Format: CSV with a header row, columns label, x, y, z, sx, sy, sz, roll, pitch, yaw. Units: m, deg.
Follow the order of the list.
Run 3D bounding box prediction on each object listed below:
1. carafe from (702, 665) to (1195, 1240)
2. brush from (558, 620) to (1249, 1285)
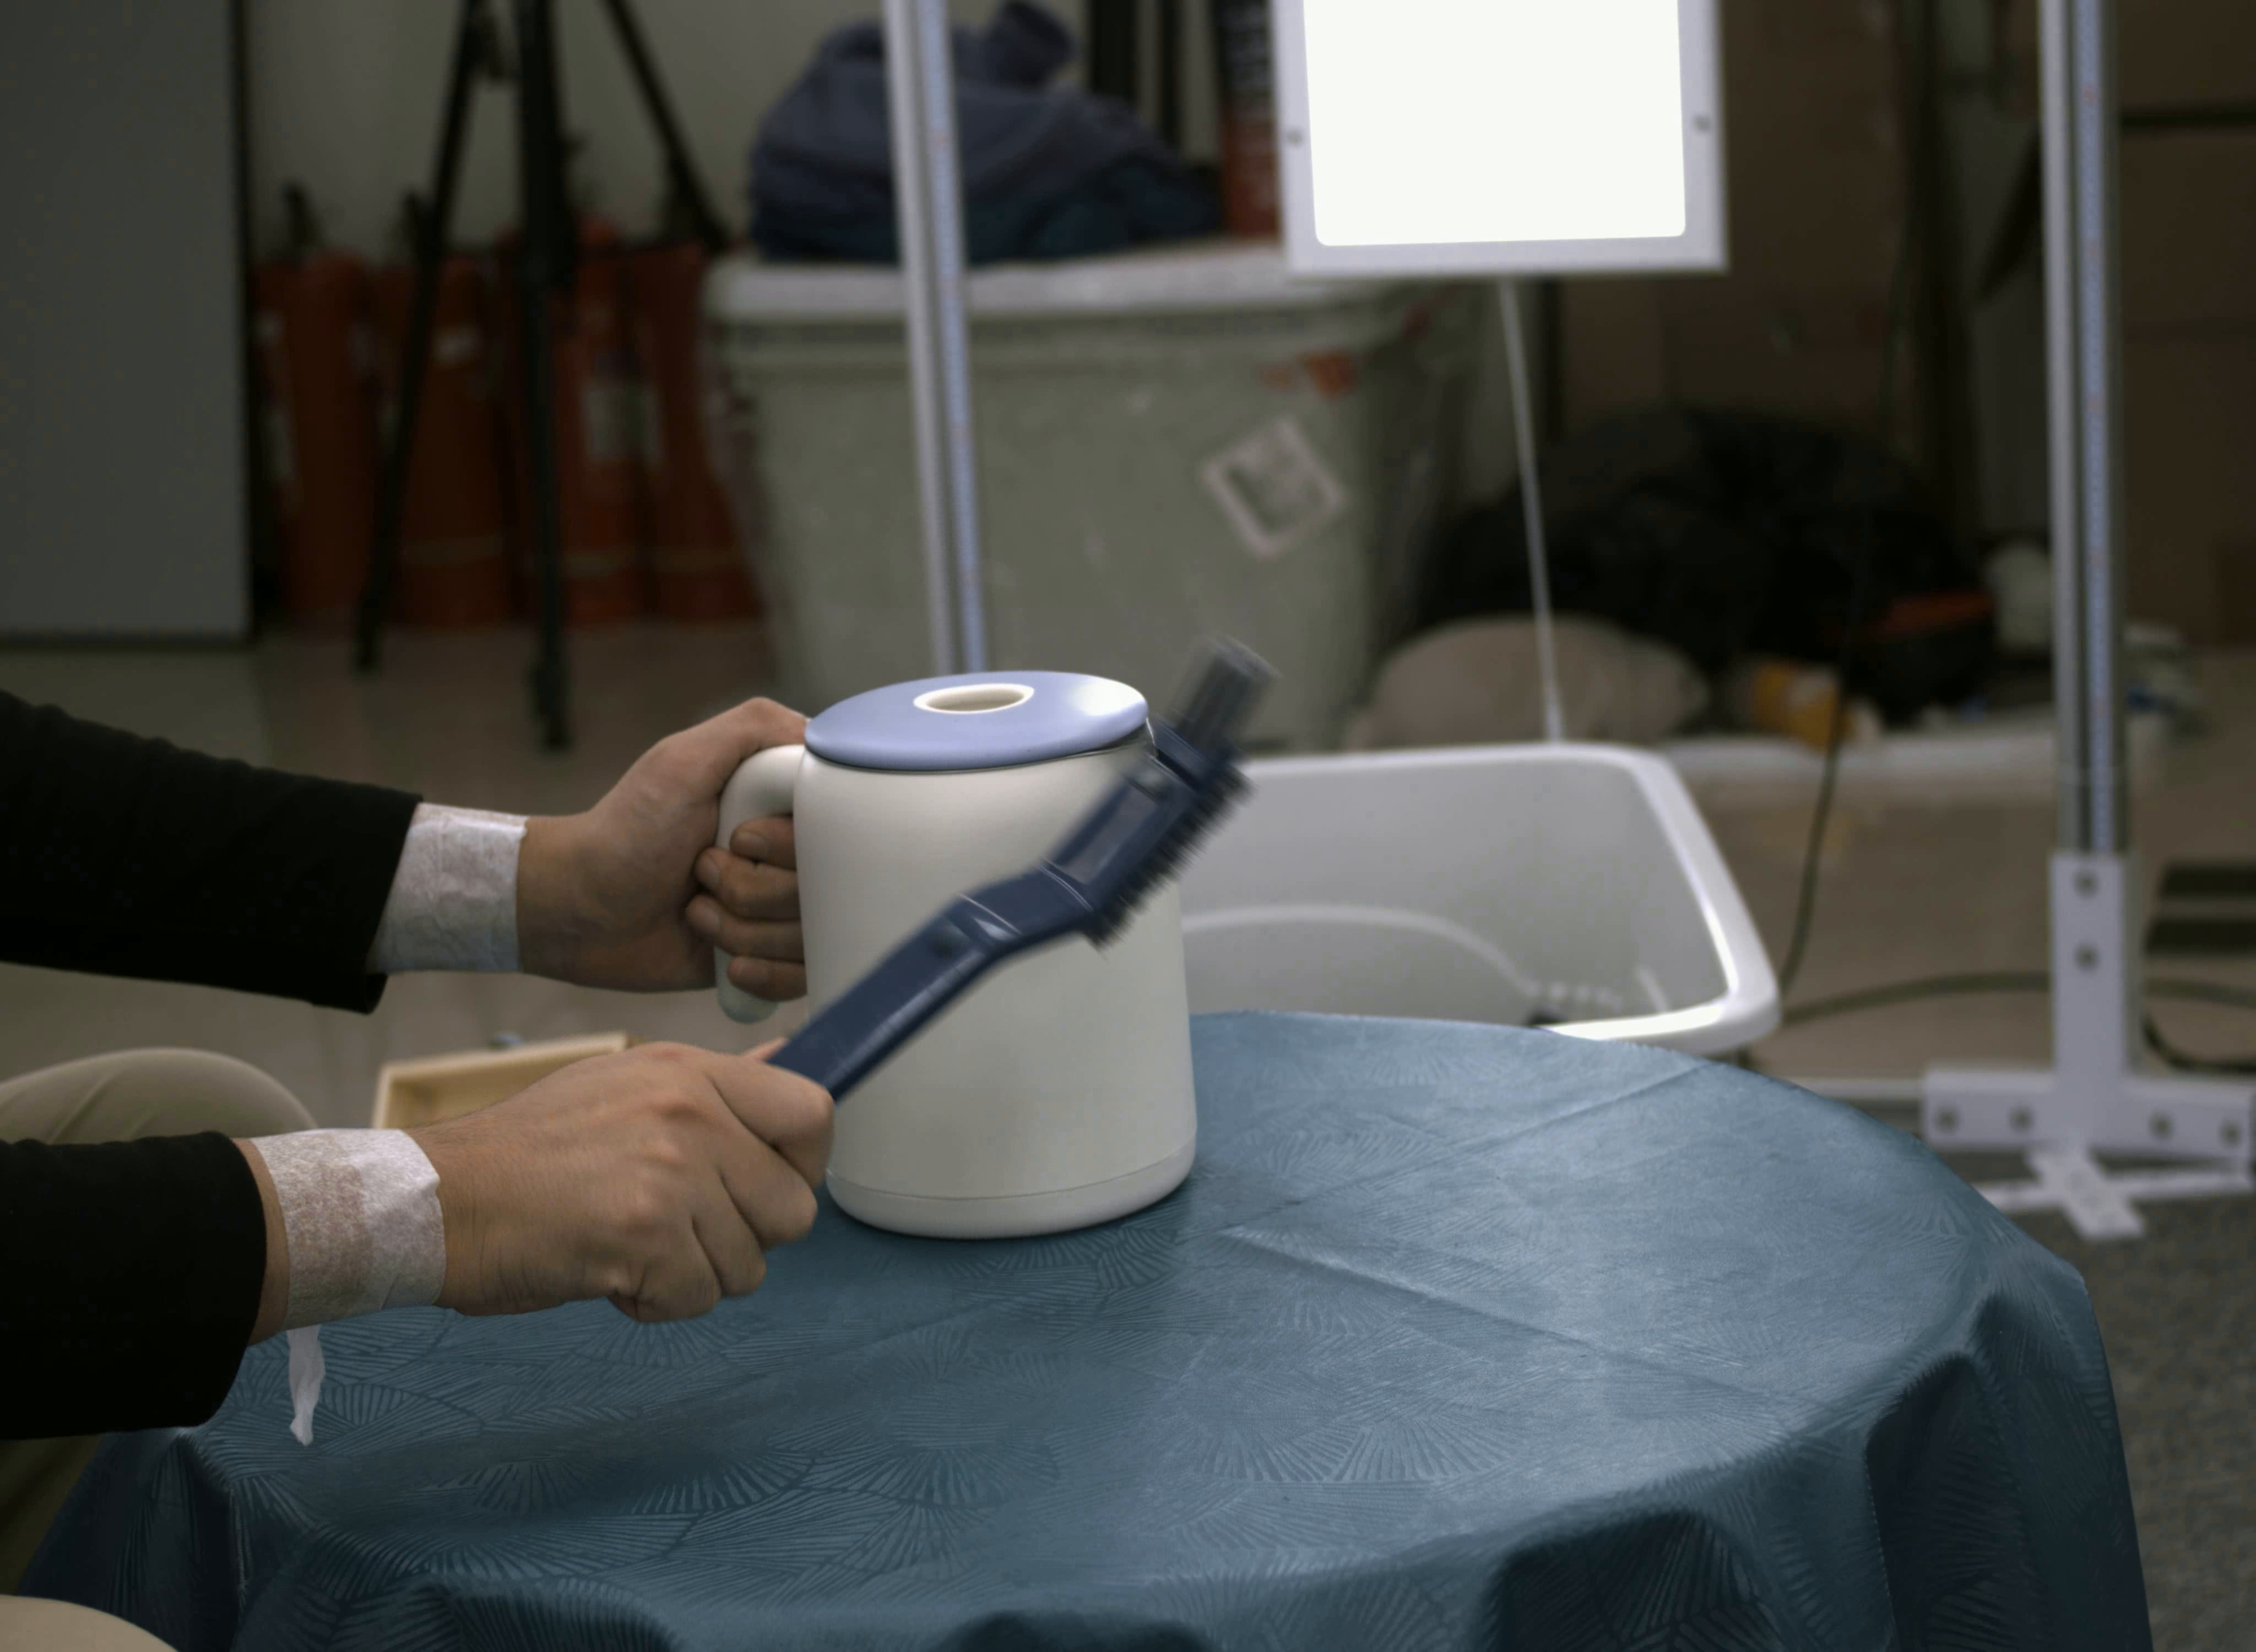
label,x,y,z,sx,sy,sz,roll,pitch,yaw
carafe,-0.067,0.041,1.909,0.195,0.183,0.129,3,15,33
brush,-0.067,0.038,1.714,0.268,0.096,0.034,-38,62,-26
